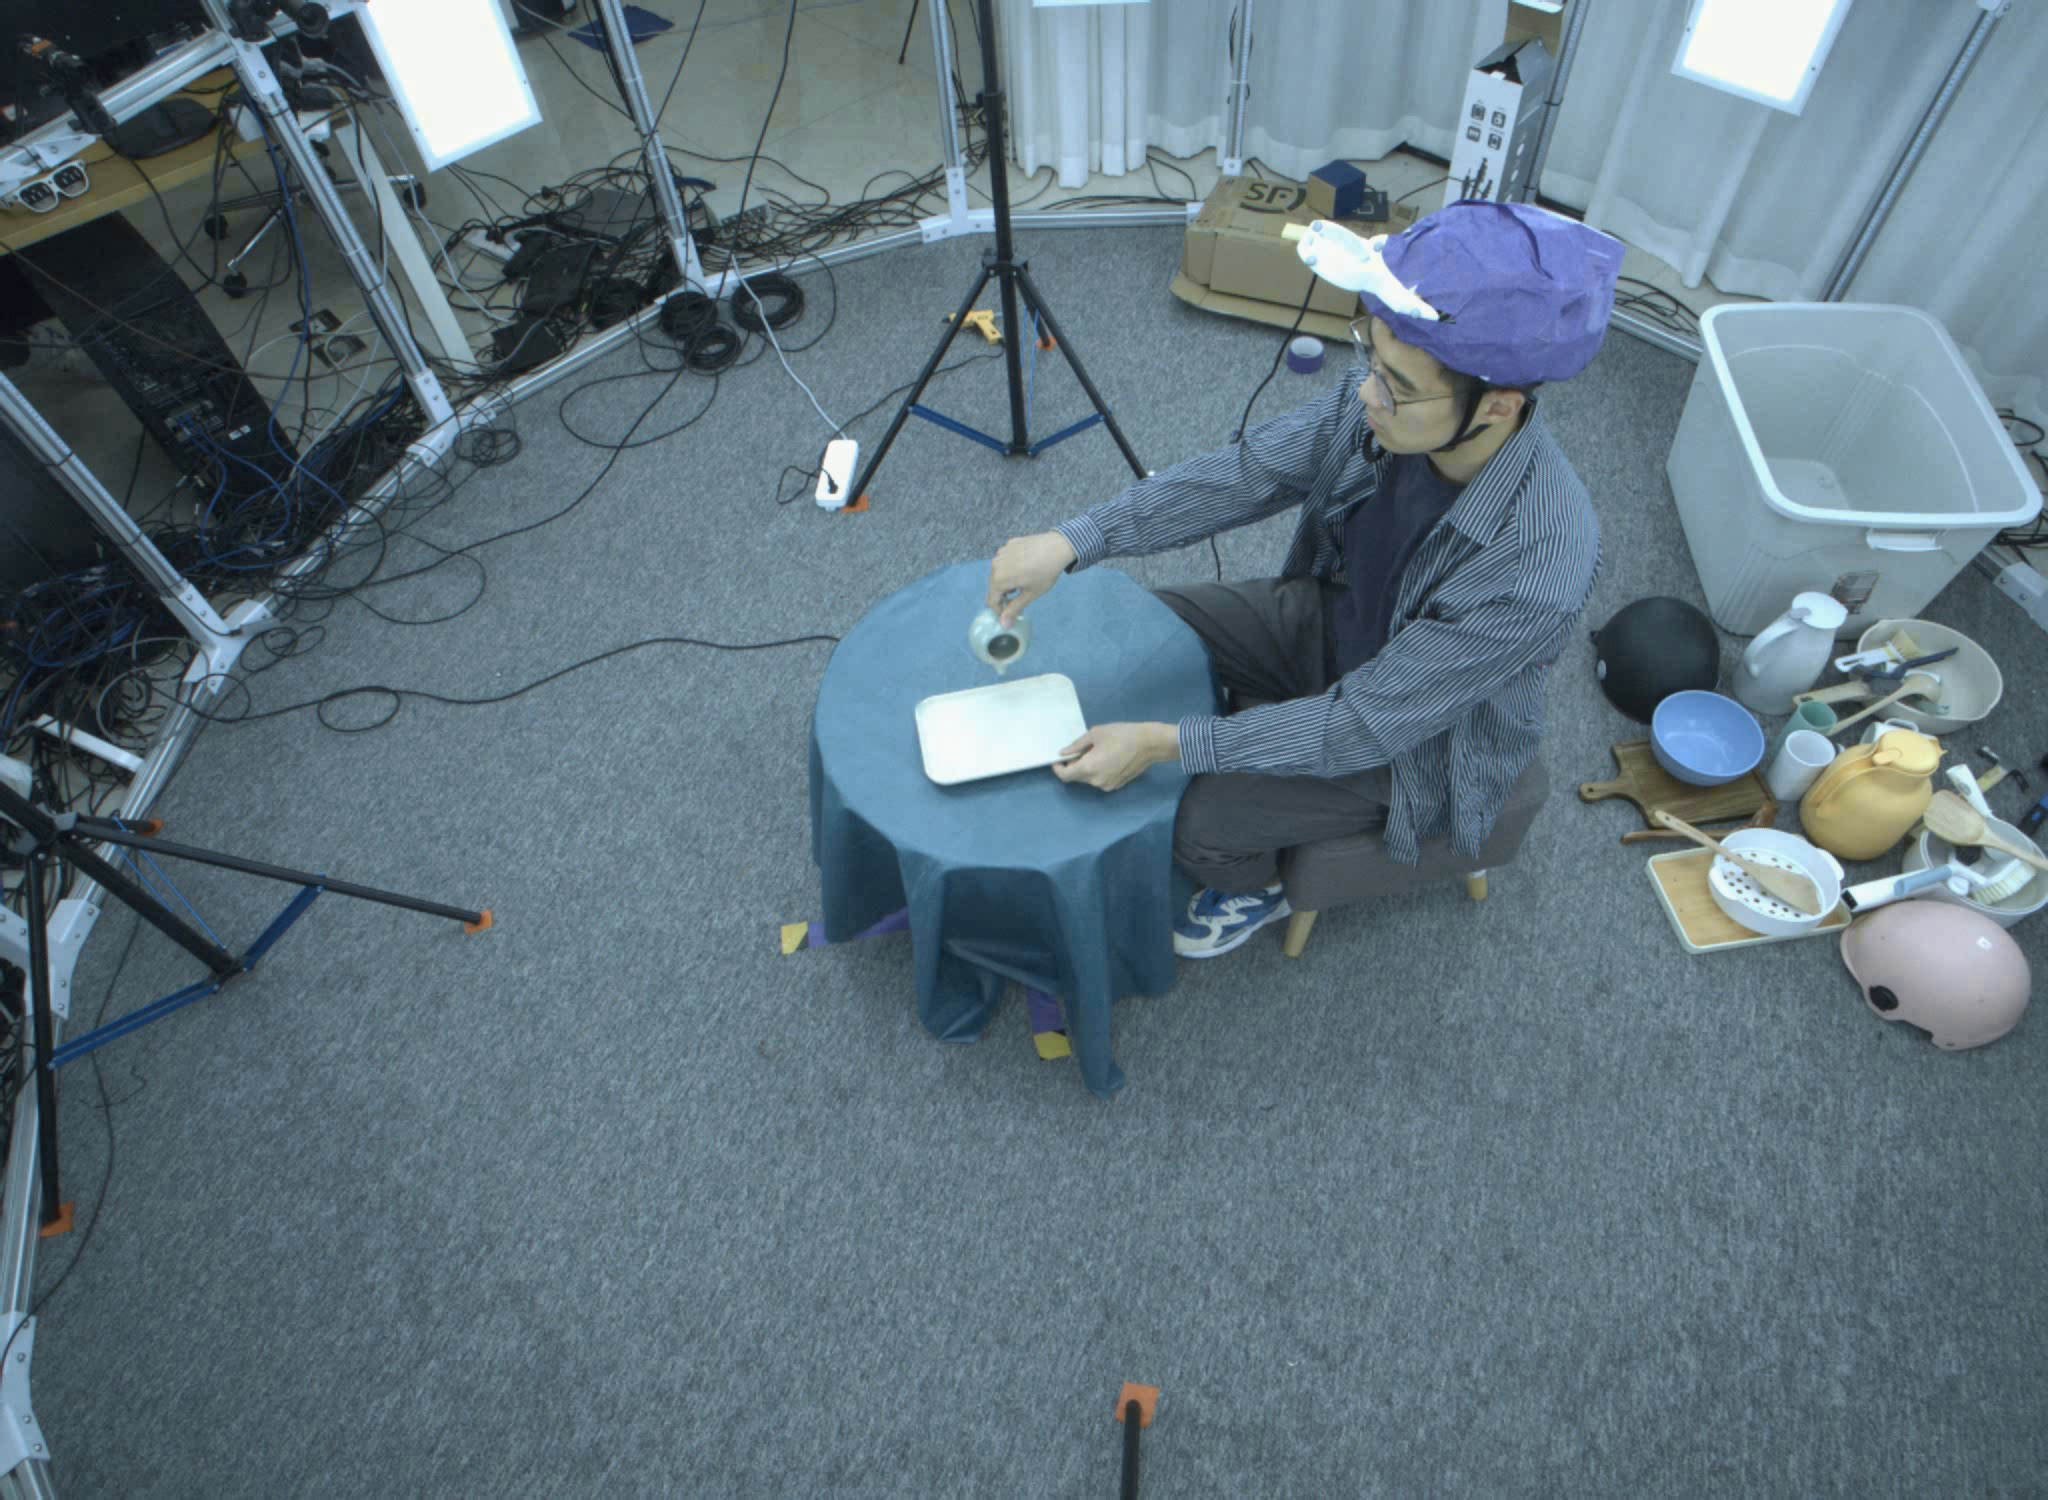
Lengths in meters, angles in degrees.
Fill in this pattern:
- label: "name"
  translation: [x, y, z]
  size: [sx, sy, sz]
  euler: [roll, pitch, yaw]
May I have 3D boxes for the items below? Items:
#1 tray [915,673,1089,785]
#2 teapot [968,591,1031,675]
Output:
- label: "tray"
  translation: [-0.034, -0.031, 1.797]
  size: [0.240, 0.018, 0.168]
  euler: [-11, 51, -5]
- label: "teapot"
  translation: [-0.034, -0.173, 1.779]
  size: [0.092, 0.129, 0.060]
  euler: [-2, 44, -14]
